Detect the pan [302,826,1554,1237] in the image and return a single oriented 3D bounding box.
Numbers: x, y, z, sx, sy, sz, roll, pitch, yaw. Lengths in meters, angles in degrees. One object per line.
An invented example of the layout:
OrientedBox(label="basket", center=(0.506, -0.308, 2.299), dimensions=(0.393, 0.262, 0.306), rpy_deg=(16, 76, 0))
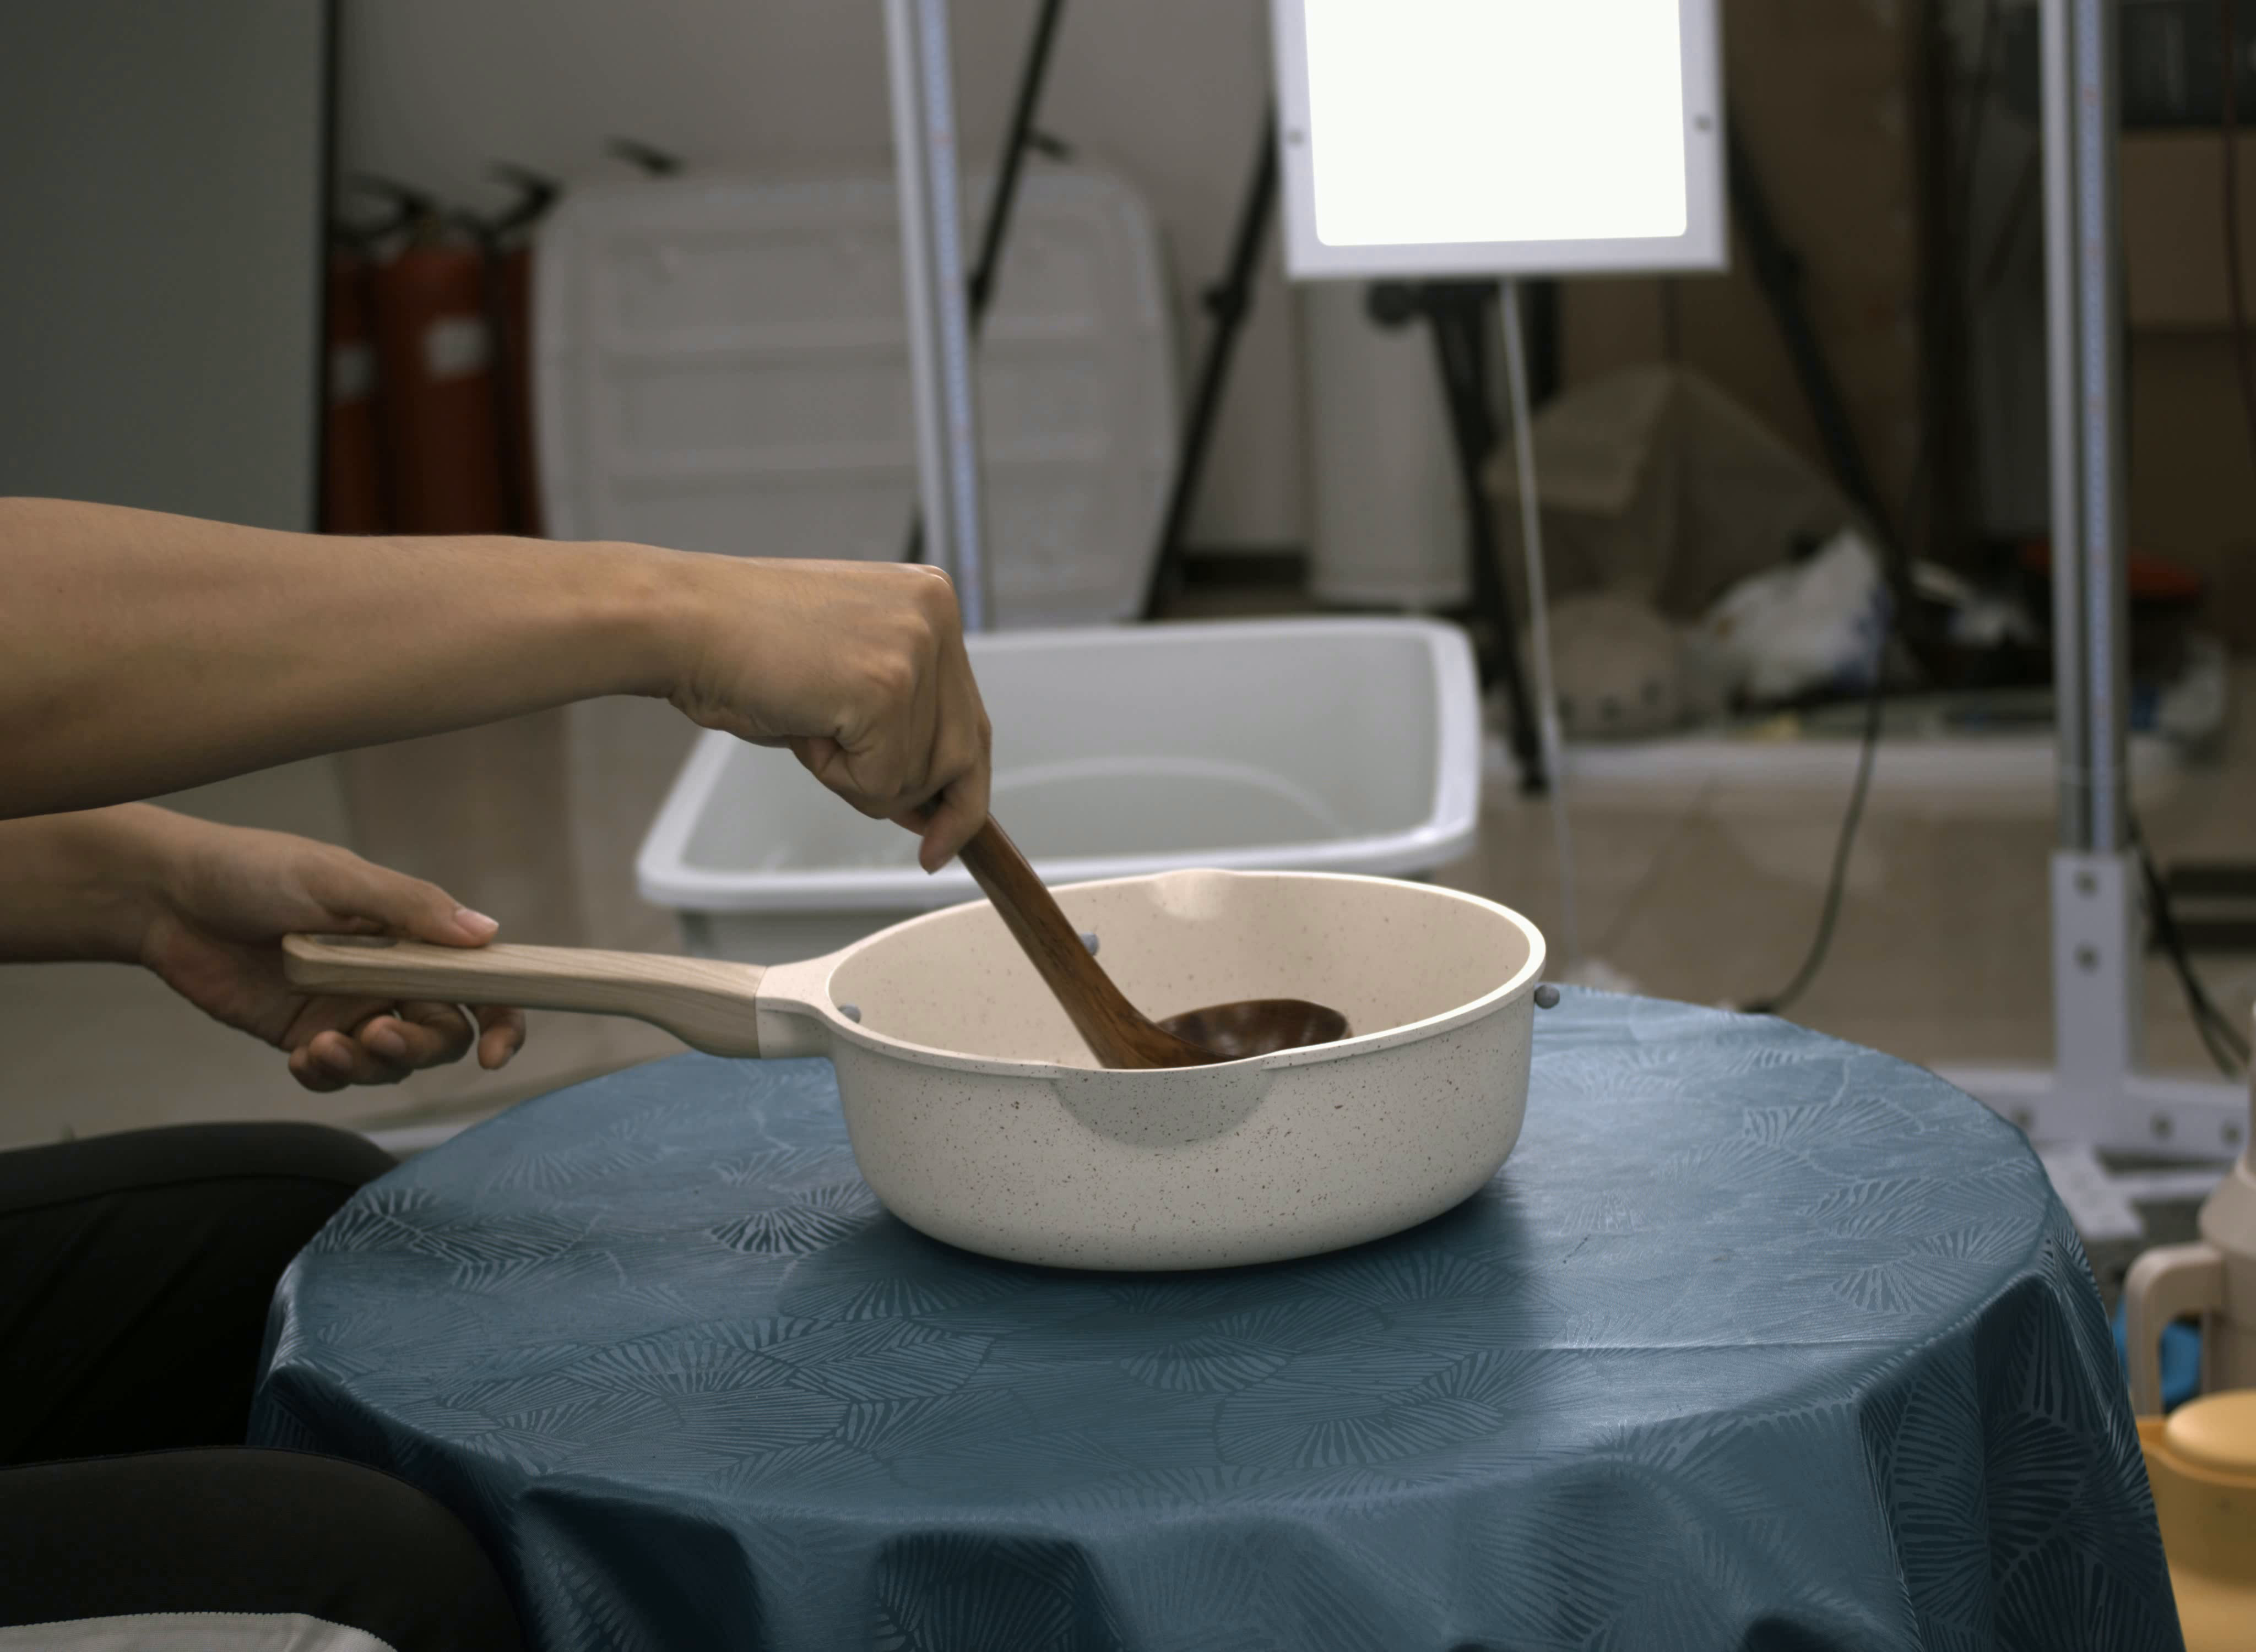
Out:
OrientedBox(label="pan", center=(-0.067, 0.071, 1.914), dimensions=(0.436, 0.102, 0.262), rpy_deg=(-4, 15, 6))

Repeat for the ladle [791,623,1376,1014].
OrientedBox(label="ladle", center=(-0.010, 0.000, 1.799), dimensions=(0.084, 0.271, 0.076), rpy_deg=(0, 51, 43))
